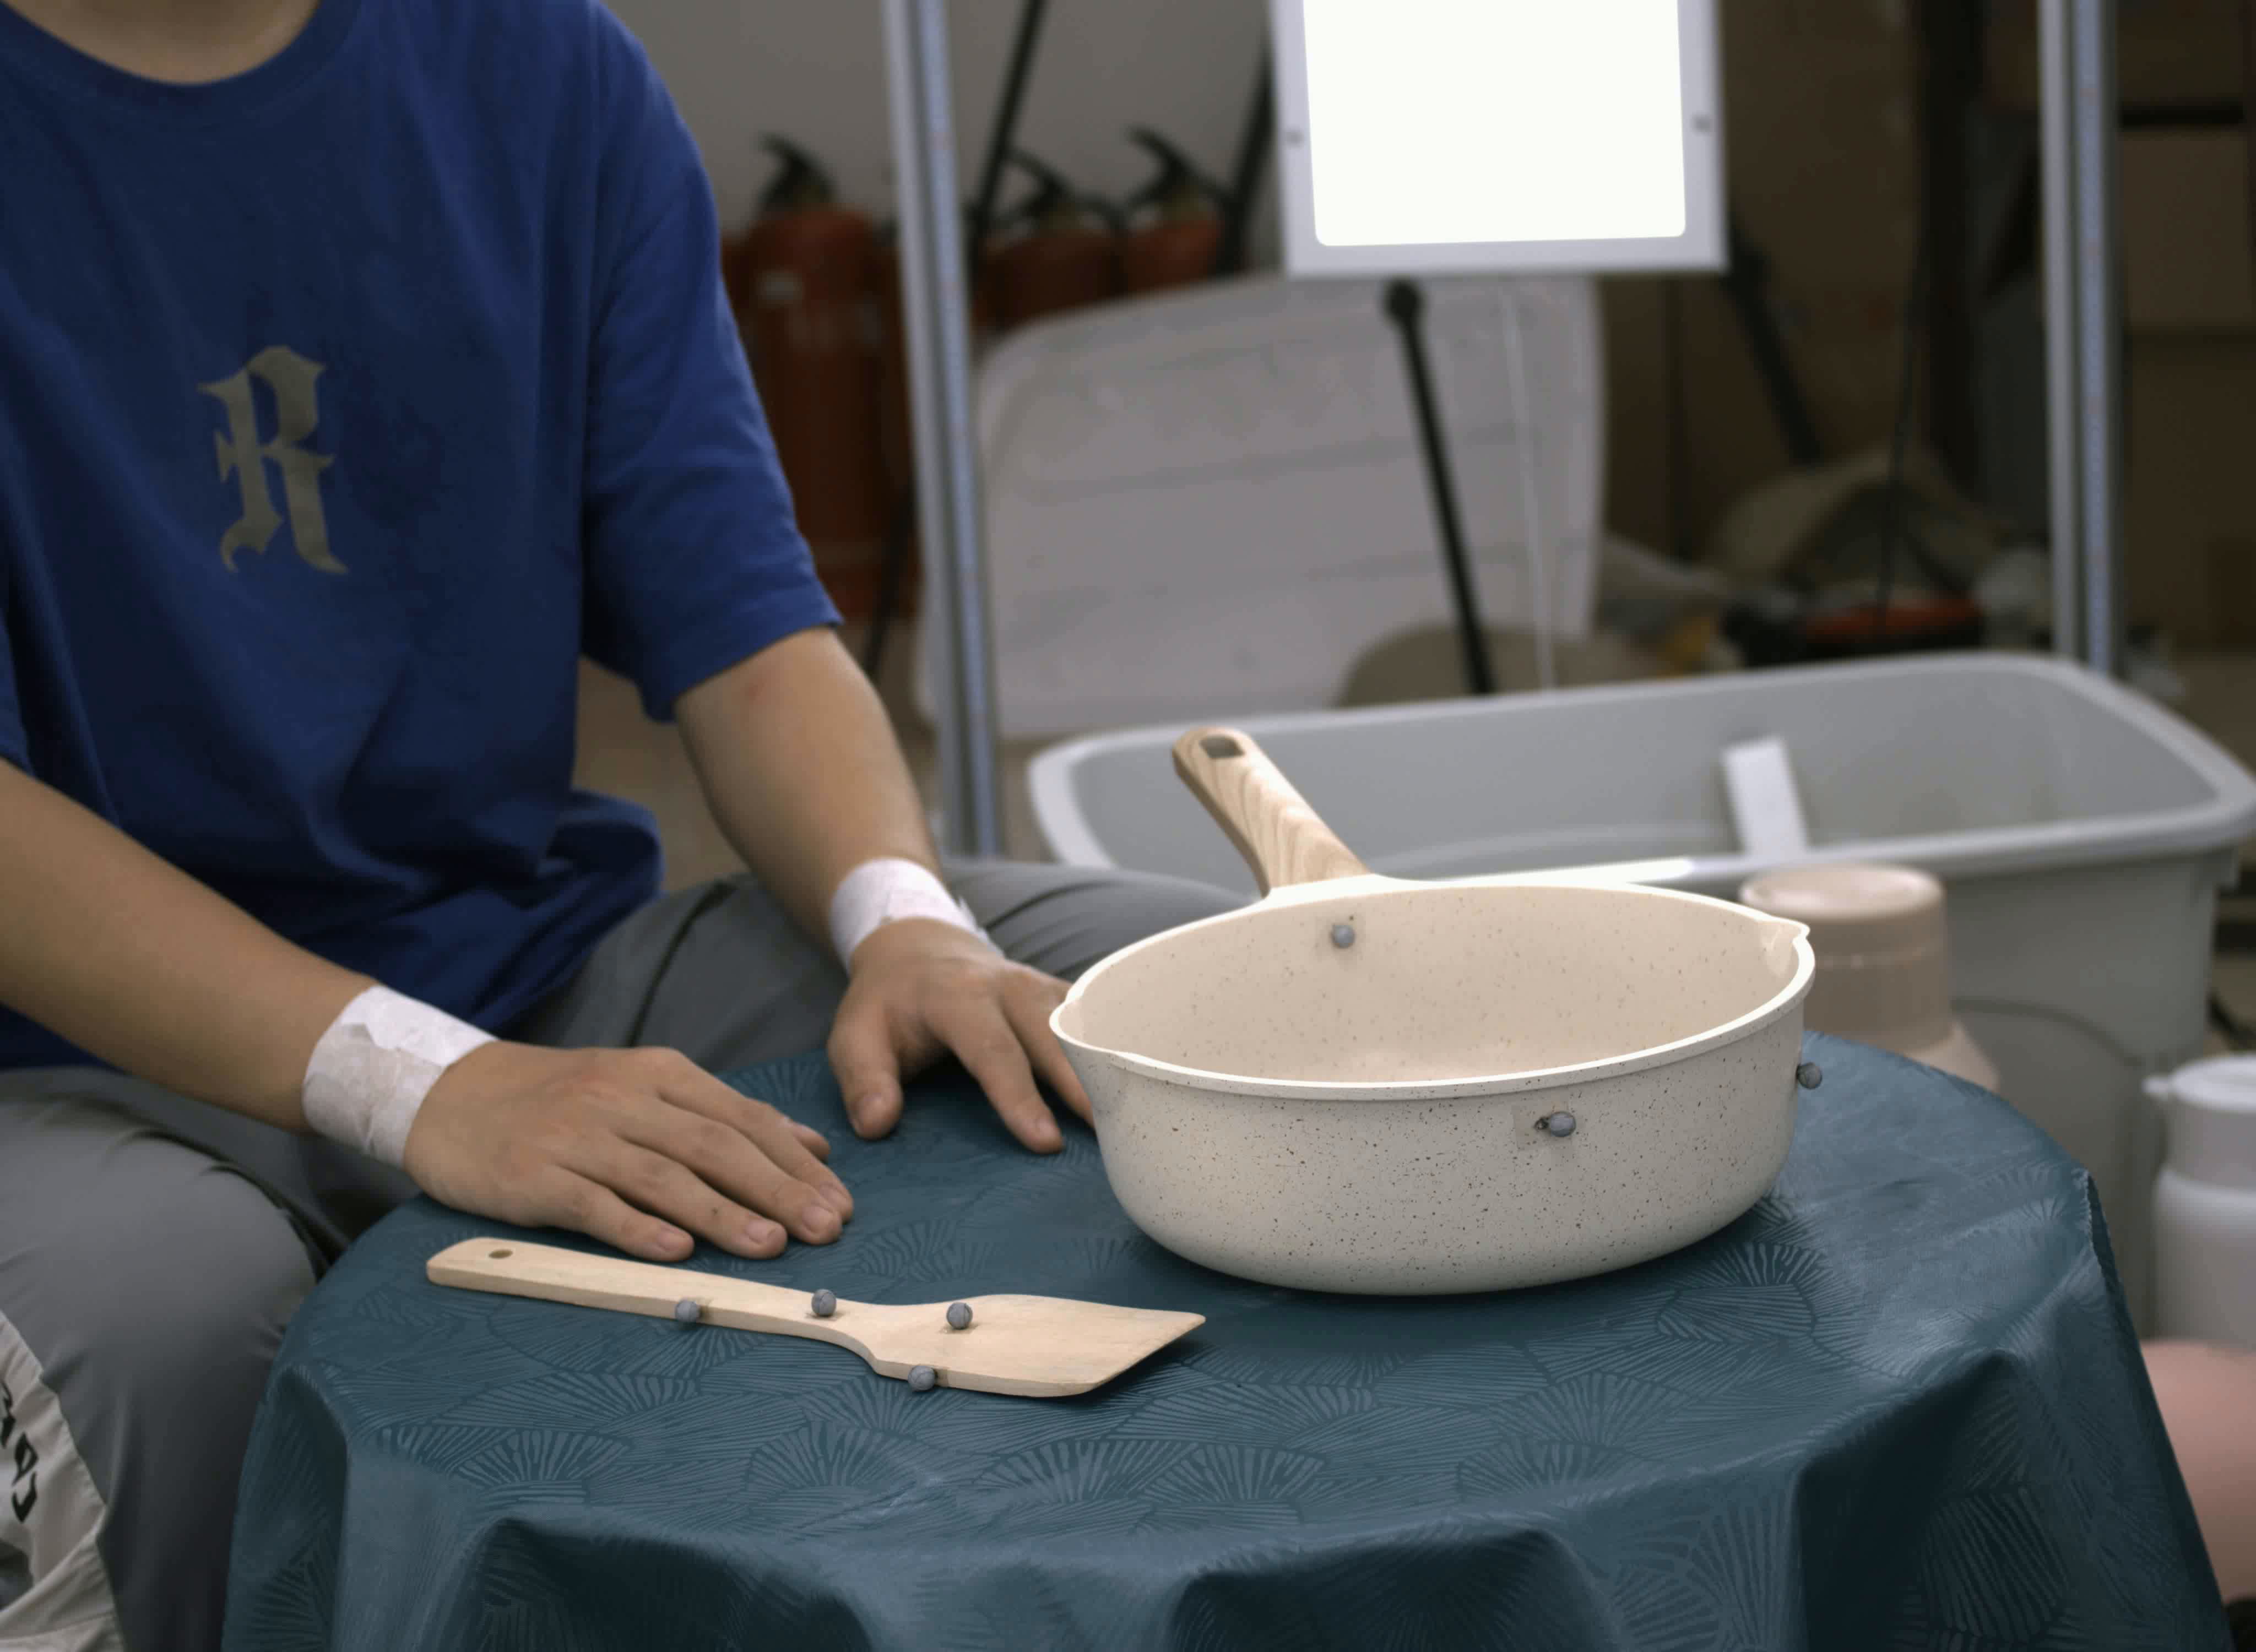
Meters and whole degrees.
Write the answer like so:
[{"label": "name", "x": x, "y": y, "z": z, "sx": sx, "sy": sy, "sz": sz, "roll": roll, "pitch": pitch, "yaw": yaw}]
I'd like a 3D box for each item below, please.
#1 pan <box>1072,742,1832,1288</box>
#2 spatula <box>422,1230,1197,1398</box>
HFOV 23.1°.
[{"label": "pan", "x": 0.088, "y": 0.060, "z": 1.925, "sx": 0.260, "sy": 0.102, "sz": 0.439, "roll": -10, "pitch": 14, "yaw": -12}, {"label": "spatula", "x": -0.115, "y": 0.156, "z": 1.798, "sx": 0.299, "sy": 0.011, "sz": 0.070, "roll": 5, "pitch": 18, "yaw": 35}]
